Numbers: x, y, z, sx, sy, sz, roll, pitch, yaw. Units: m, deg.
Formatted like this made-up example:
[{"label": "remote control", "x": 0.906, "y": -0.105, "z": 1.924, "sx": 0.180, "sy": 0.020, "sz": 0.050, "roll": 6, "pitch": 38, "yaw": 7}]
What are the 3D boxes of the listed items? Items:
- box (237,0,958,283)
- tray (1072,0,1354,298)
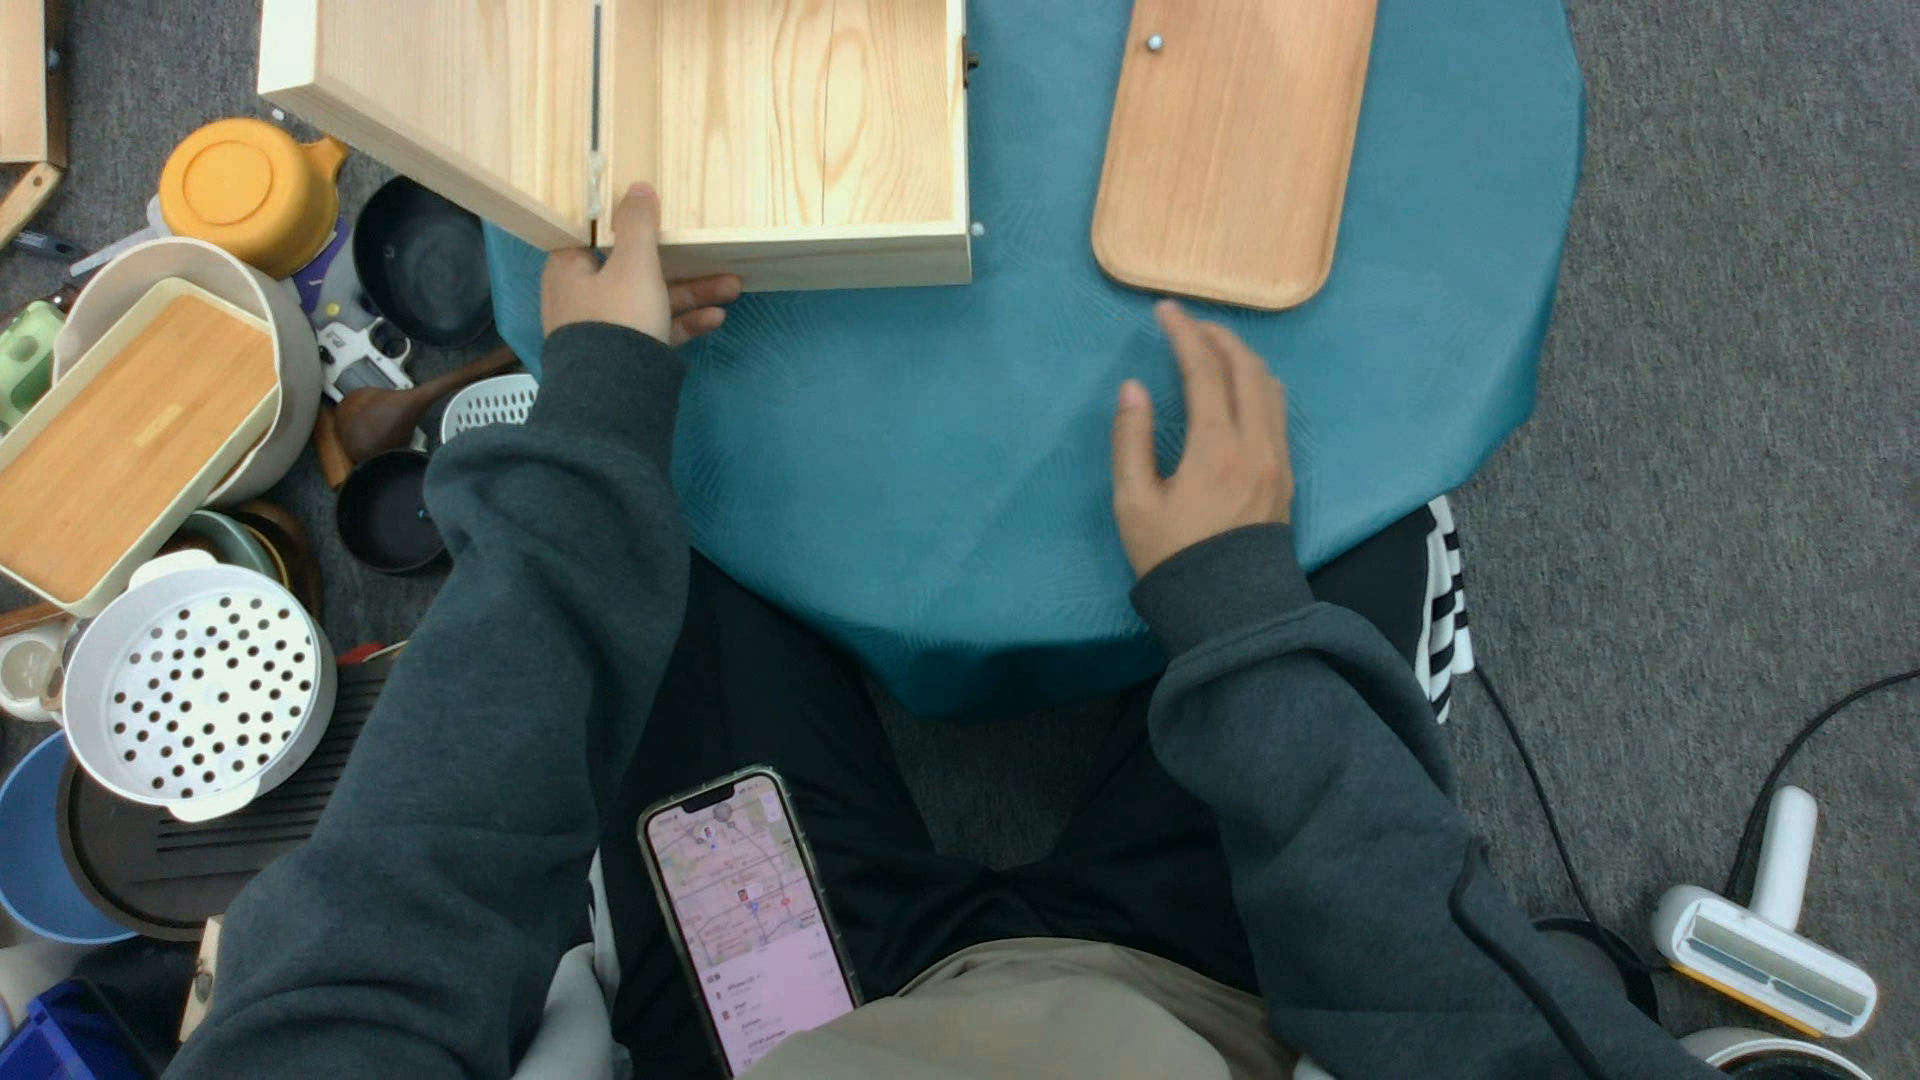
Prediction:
[{"label": "box", "x": -0.135, "y": -0.243, "z": 0.634, "sx": 0.265, "sy": 0.253, "sz": 0.182, "roll": -3, "pitch": 85, "yaw": 3}, {"label": "tray", "x": 0.140, "y": -0.254, "z": 0.741, "sx": 0.130, "sy": 0.023, "sz": 0.251, "roll": 10, "pitch": 83, "yaw": 6}]
